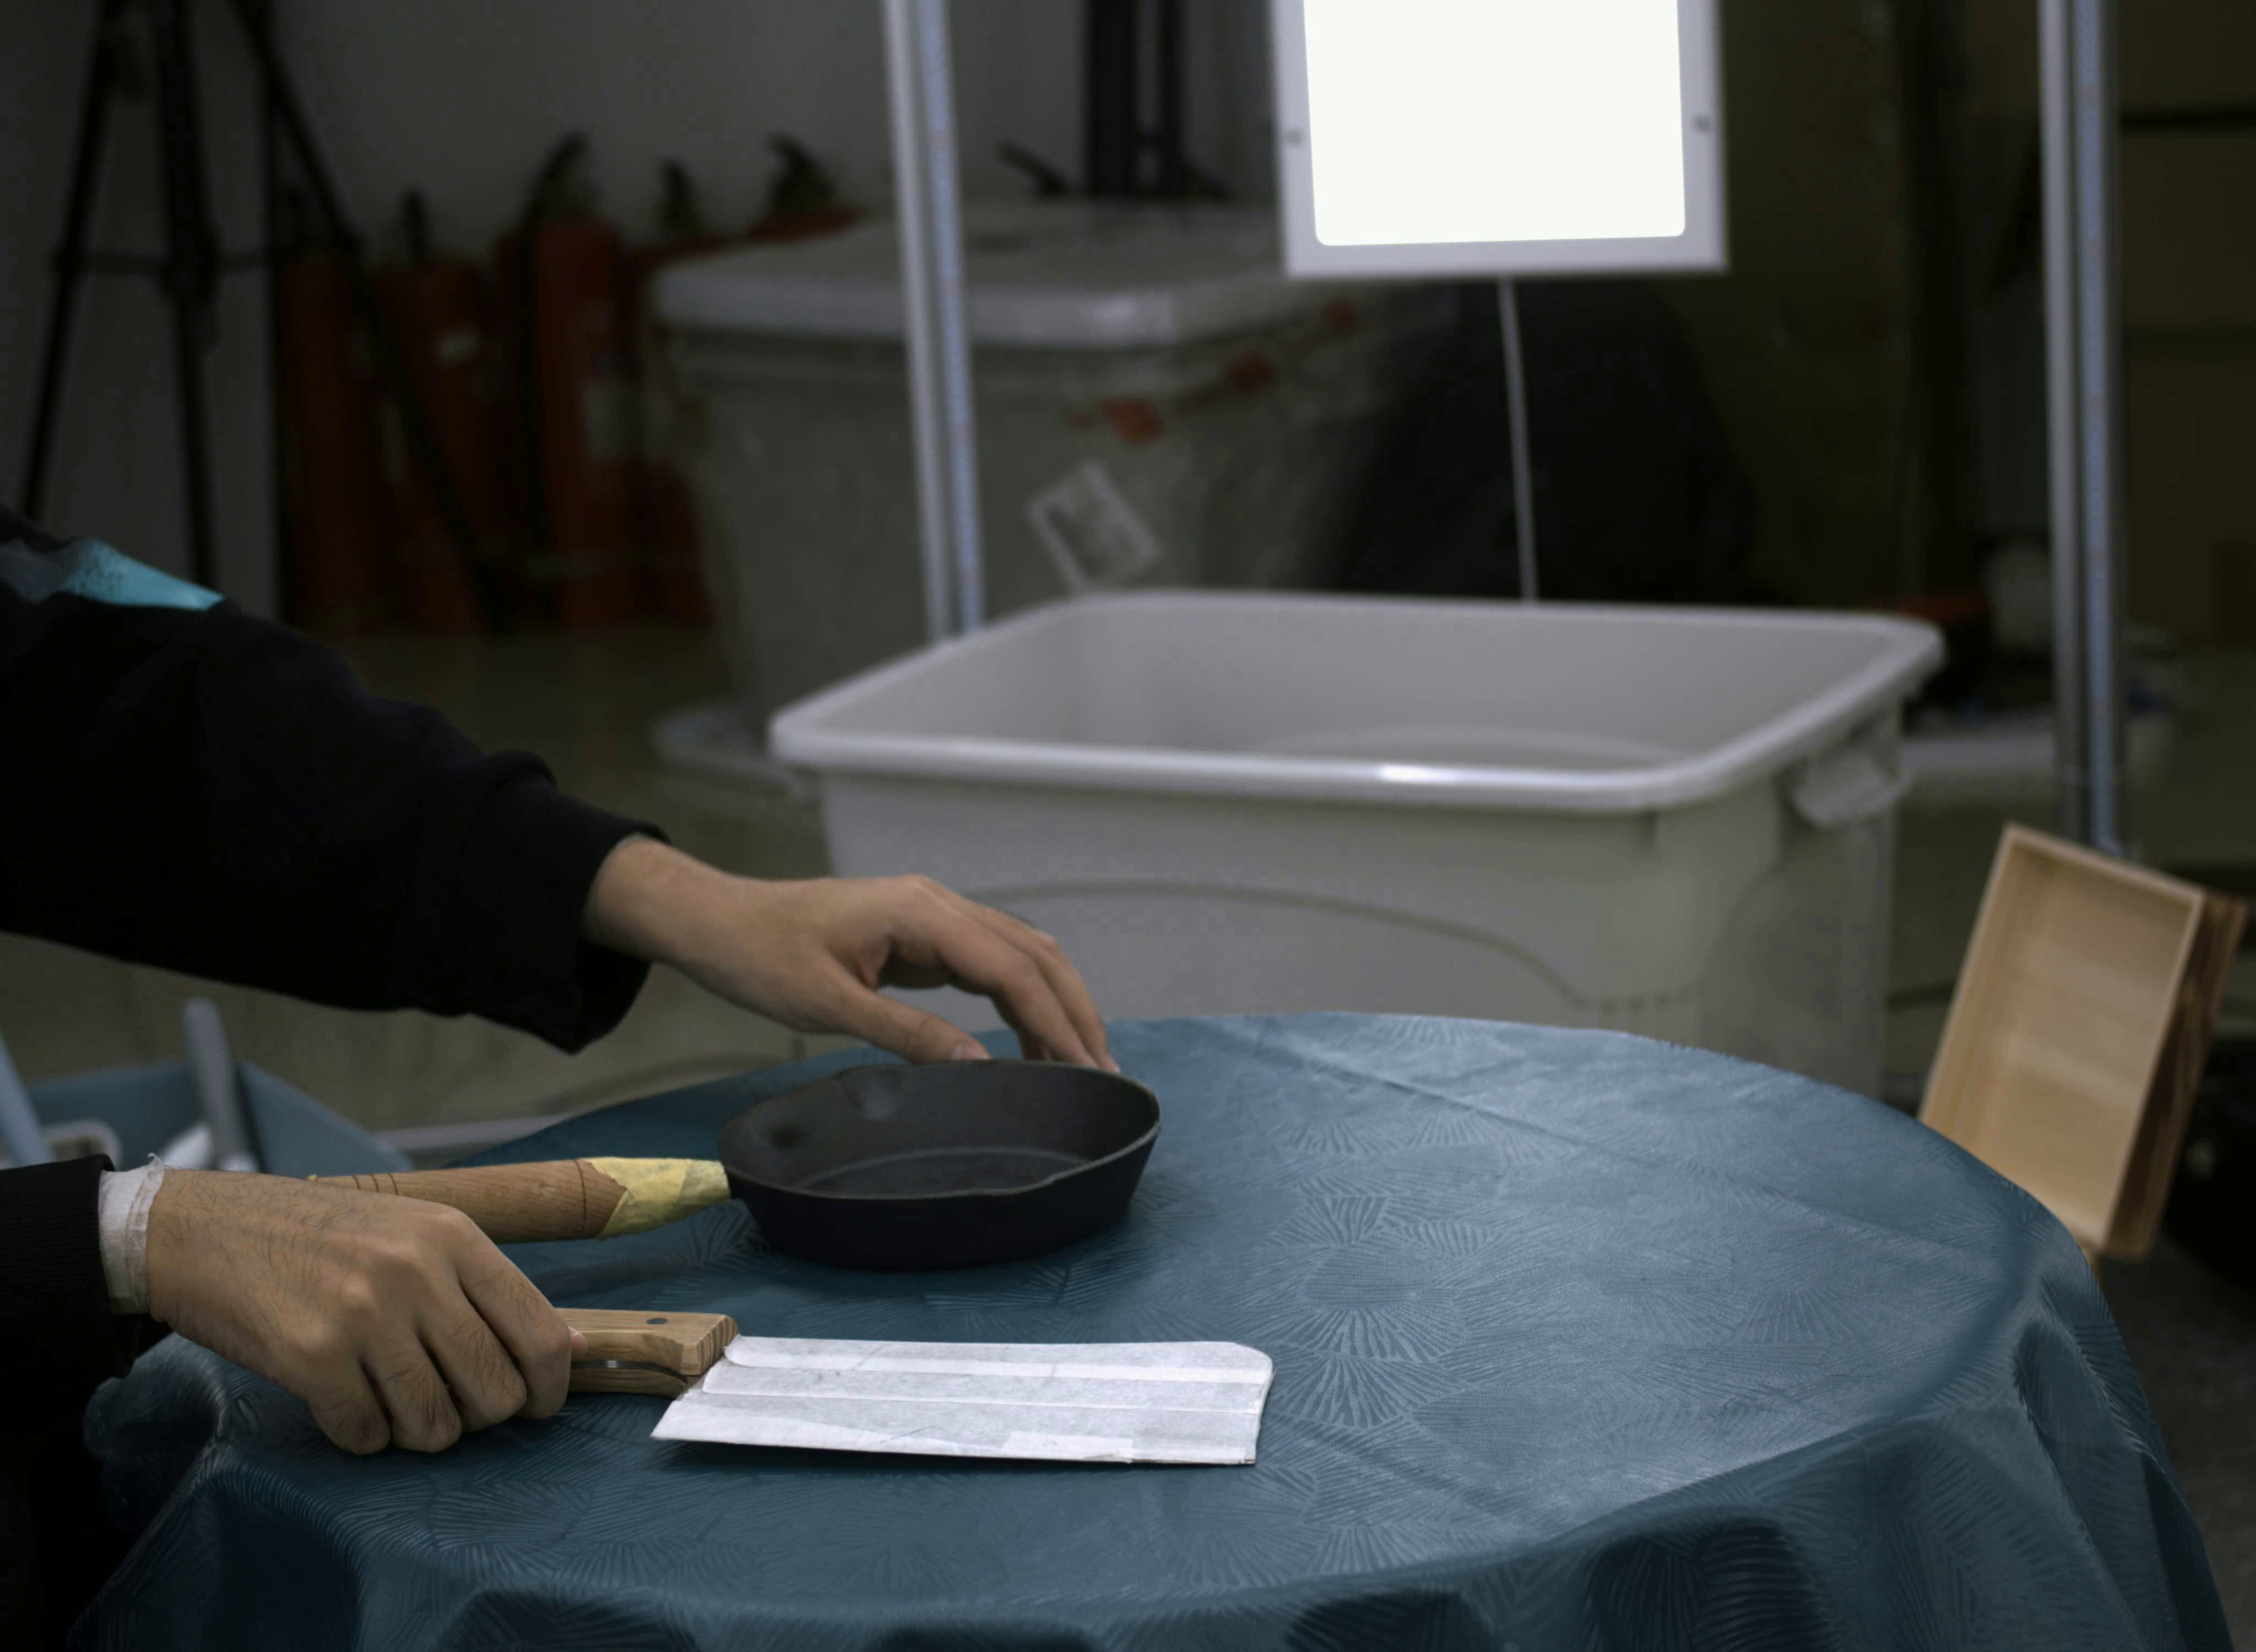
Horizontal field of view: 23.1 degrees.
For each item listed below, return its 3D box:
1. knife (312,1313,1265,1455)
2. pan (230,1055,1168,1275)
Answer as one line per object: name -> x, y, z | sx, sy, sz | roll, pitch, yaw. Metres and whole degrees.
knife -> -0.105, 0.172, 1.713 | 0.318, 0.022, 0.112 | 2, 15, 16
pan -> -0.142, 0.122, 1.861 | 0.319, 0.050, 0.171 | -8, 14, -17
